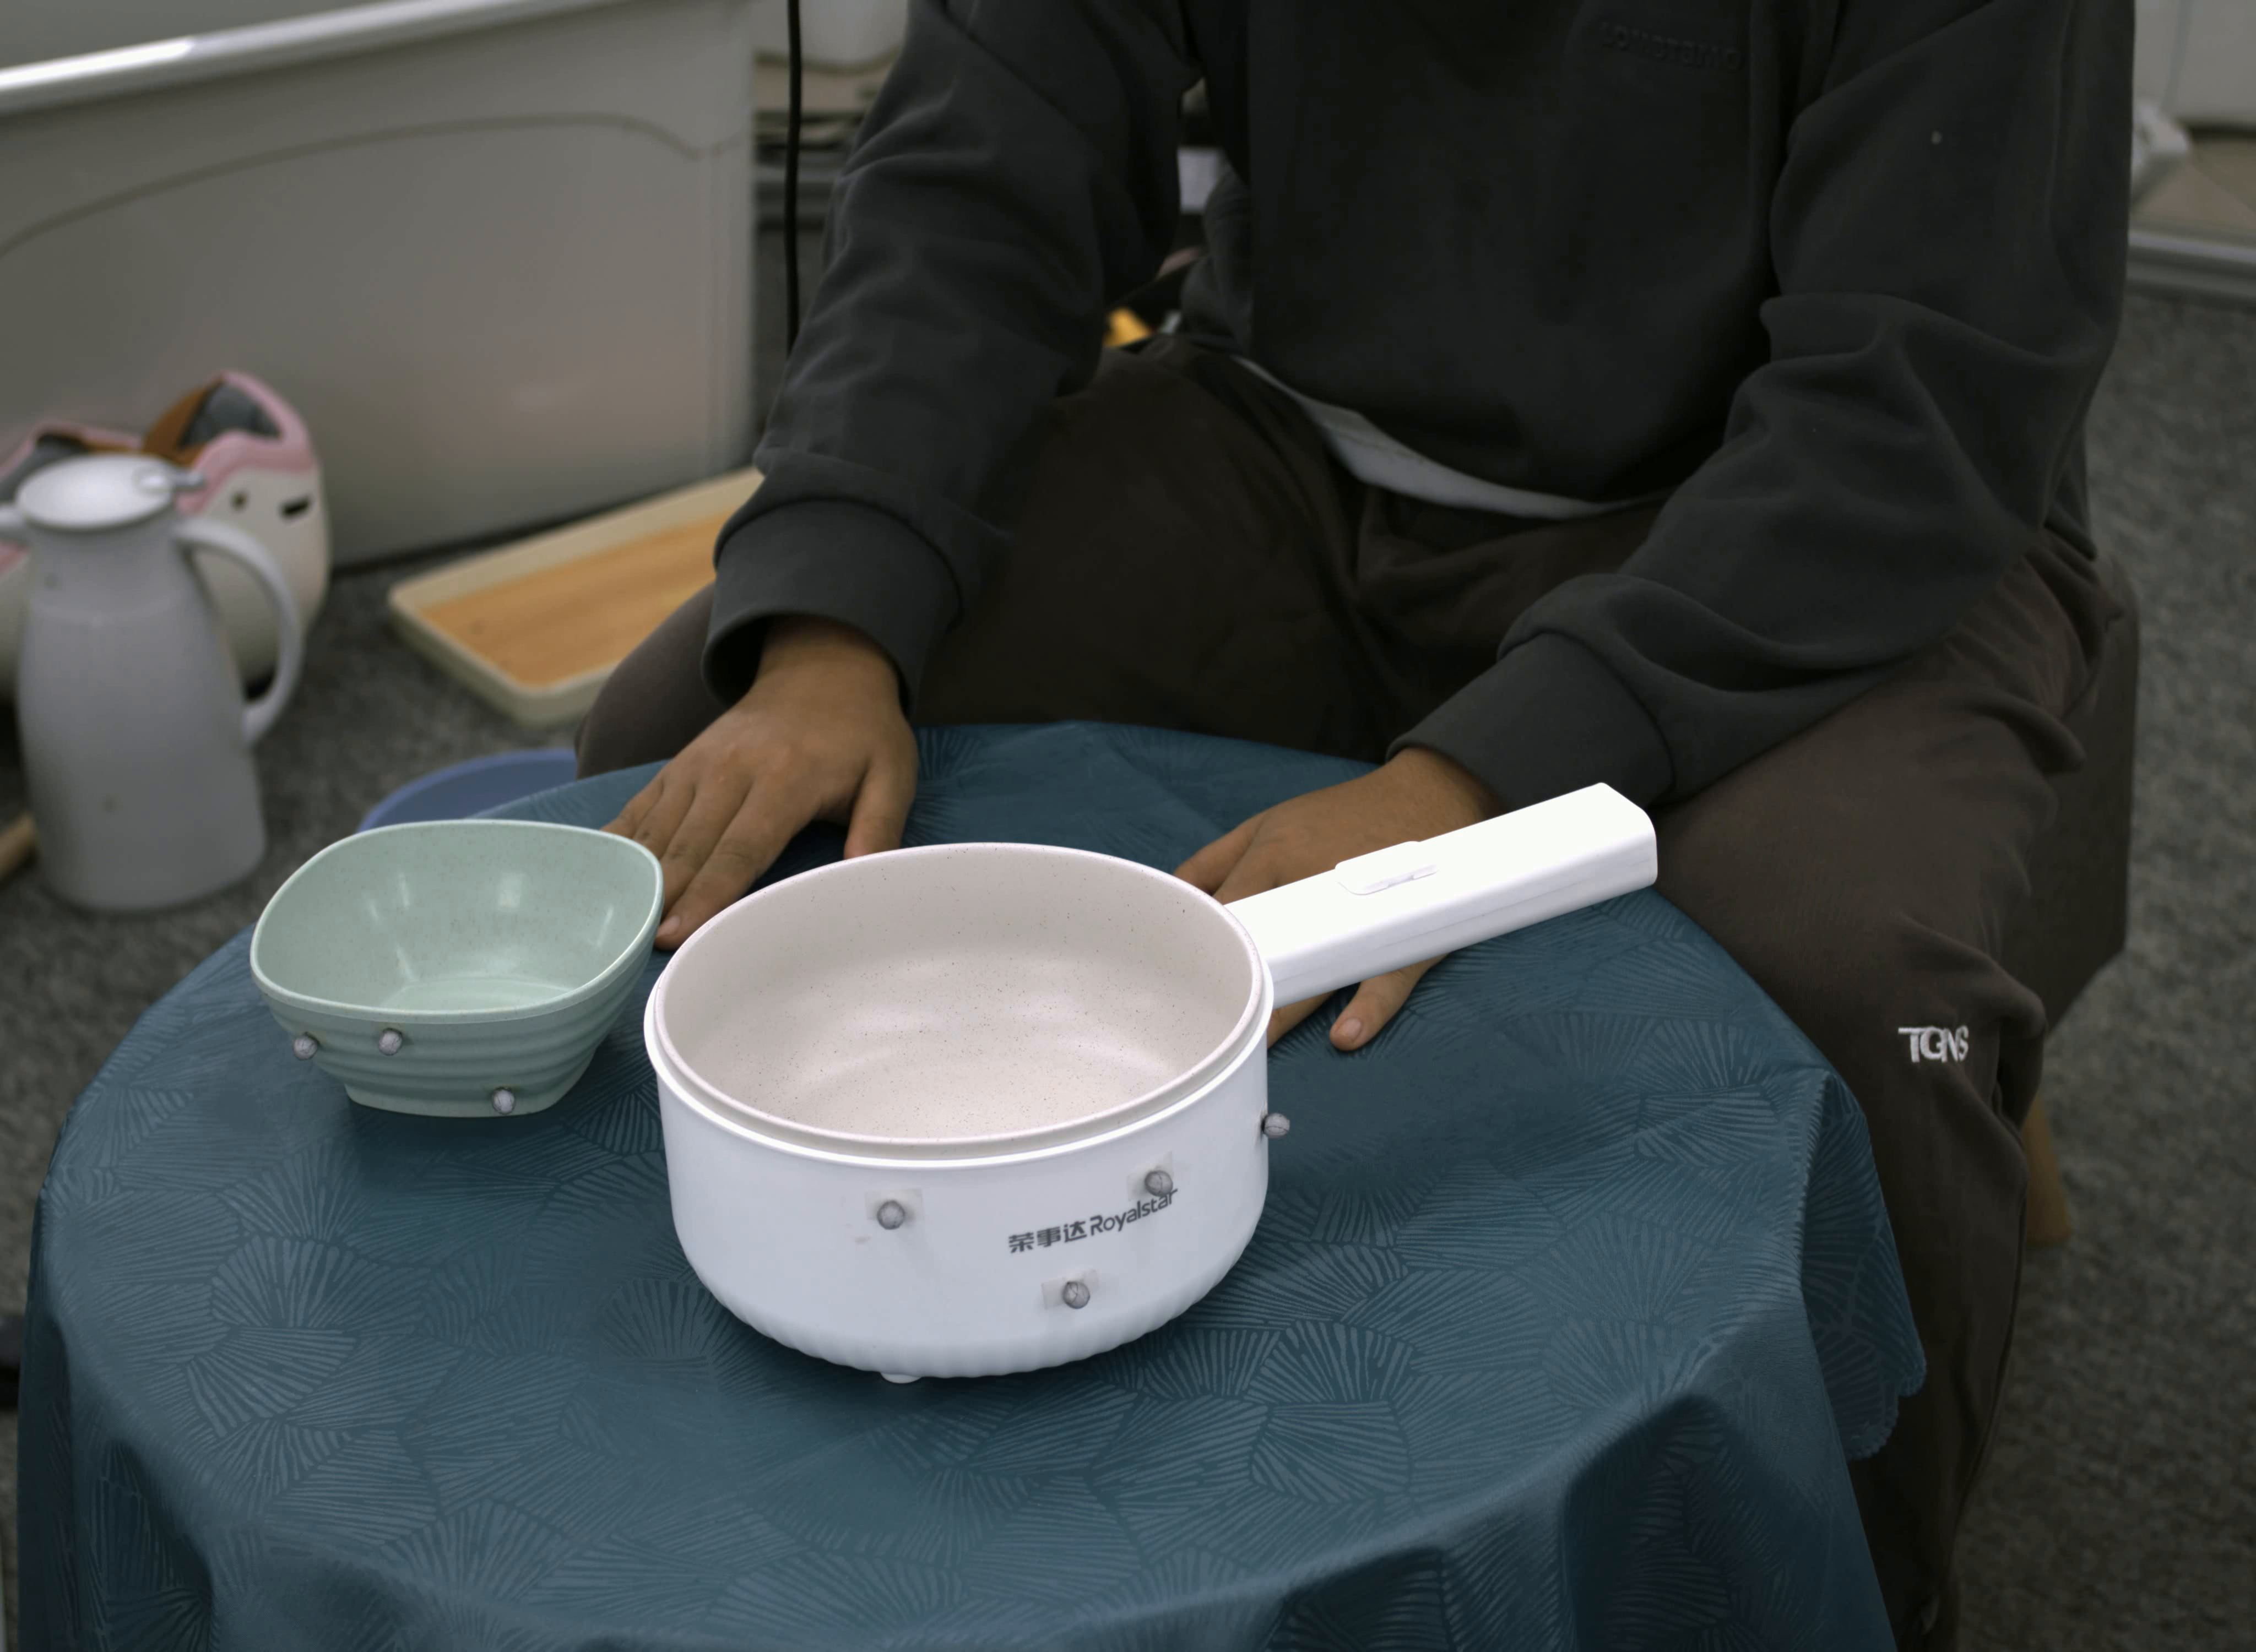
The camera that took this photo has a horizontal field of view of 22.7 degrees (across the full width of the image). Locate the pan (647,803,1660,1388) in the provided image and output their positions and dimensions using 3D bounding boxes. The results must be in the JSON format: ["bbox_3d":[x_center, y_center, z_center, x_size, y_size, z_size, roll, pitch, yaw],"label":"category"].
[{"bbox_3d":[0.015,0.080,1.847,0.357,0.101,0.202,-15,28,-25],"label":"pan"}]

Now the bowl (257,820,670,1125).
[{"bbox_3d":[-0.227,0.057,1.951,0.151,0.058,0.154,-3,28,2],"label":"bowl"}]
